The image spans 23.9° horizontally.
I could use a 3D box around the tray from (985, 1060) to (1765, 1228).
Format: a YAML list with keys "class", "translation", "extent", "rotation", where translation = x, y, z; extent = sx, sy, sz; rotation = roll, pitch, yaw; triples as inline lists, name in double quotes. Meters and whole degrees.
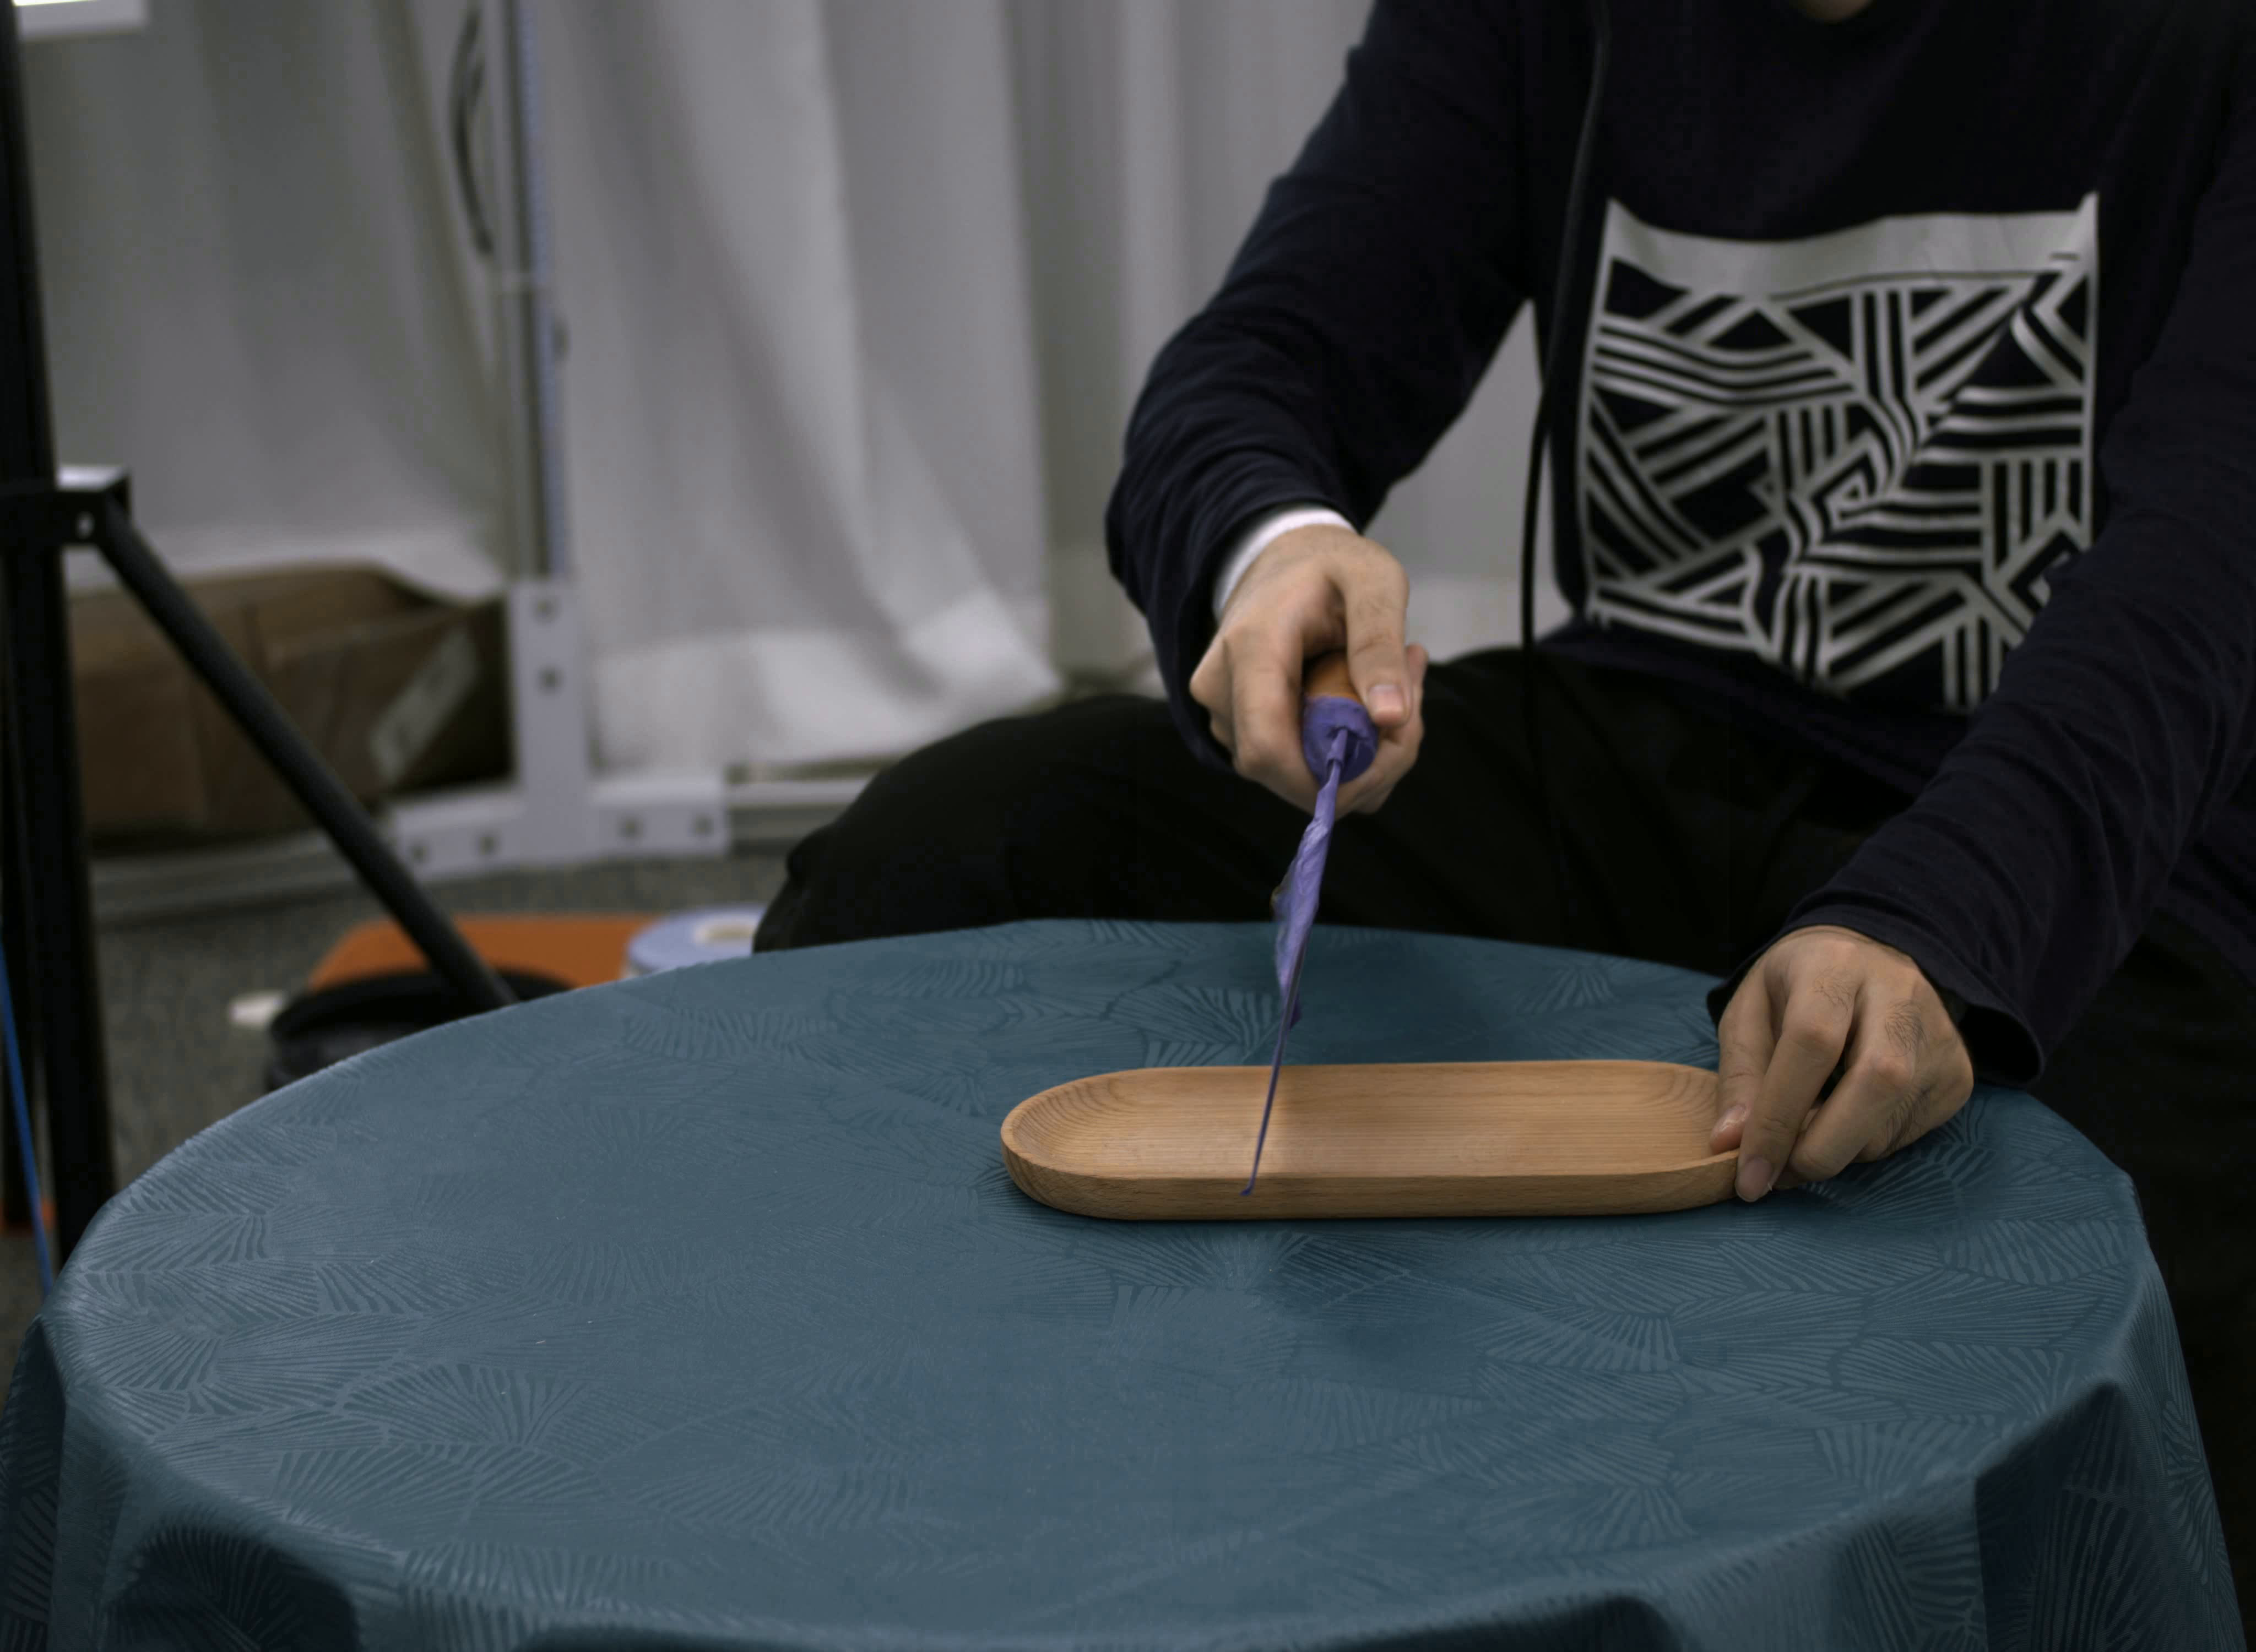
- class: "tray"
  translation: [0.073, 0.095, 1.570]
  extent: [0.231, 0.020, 0.102]
  rotation: [-3, 14, 5]

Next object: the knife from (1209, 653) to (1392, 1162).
- class: "knife"
  translation: [0.049, 0.021, 1.624]
  extent: [0.032, 0.104, 0.314]
  rotation: [15, 15, 3]
